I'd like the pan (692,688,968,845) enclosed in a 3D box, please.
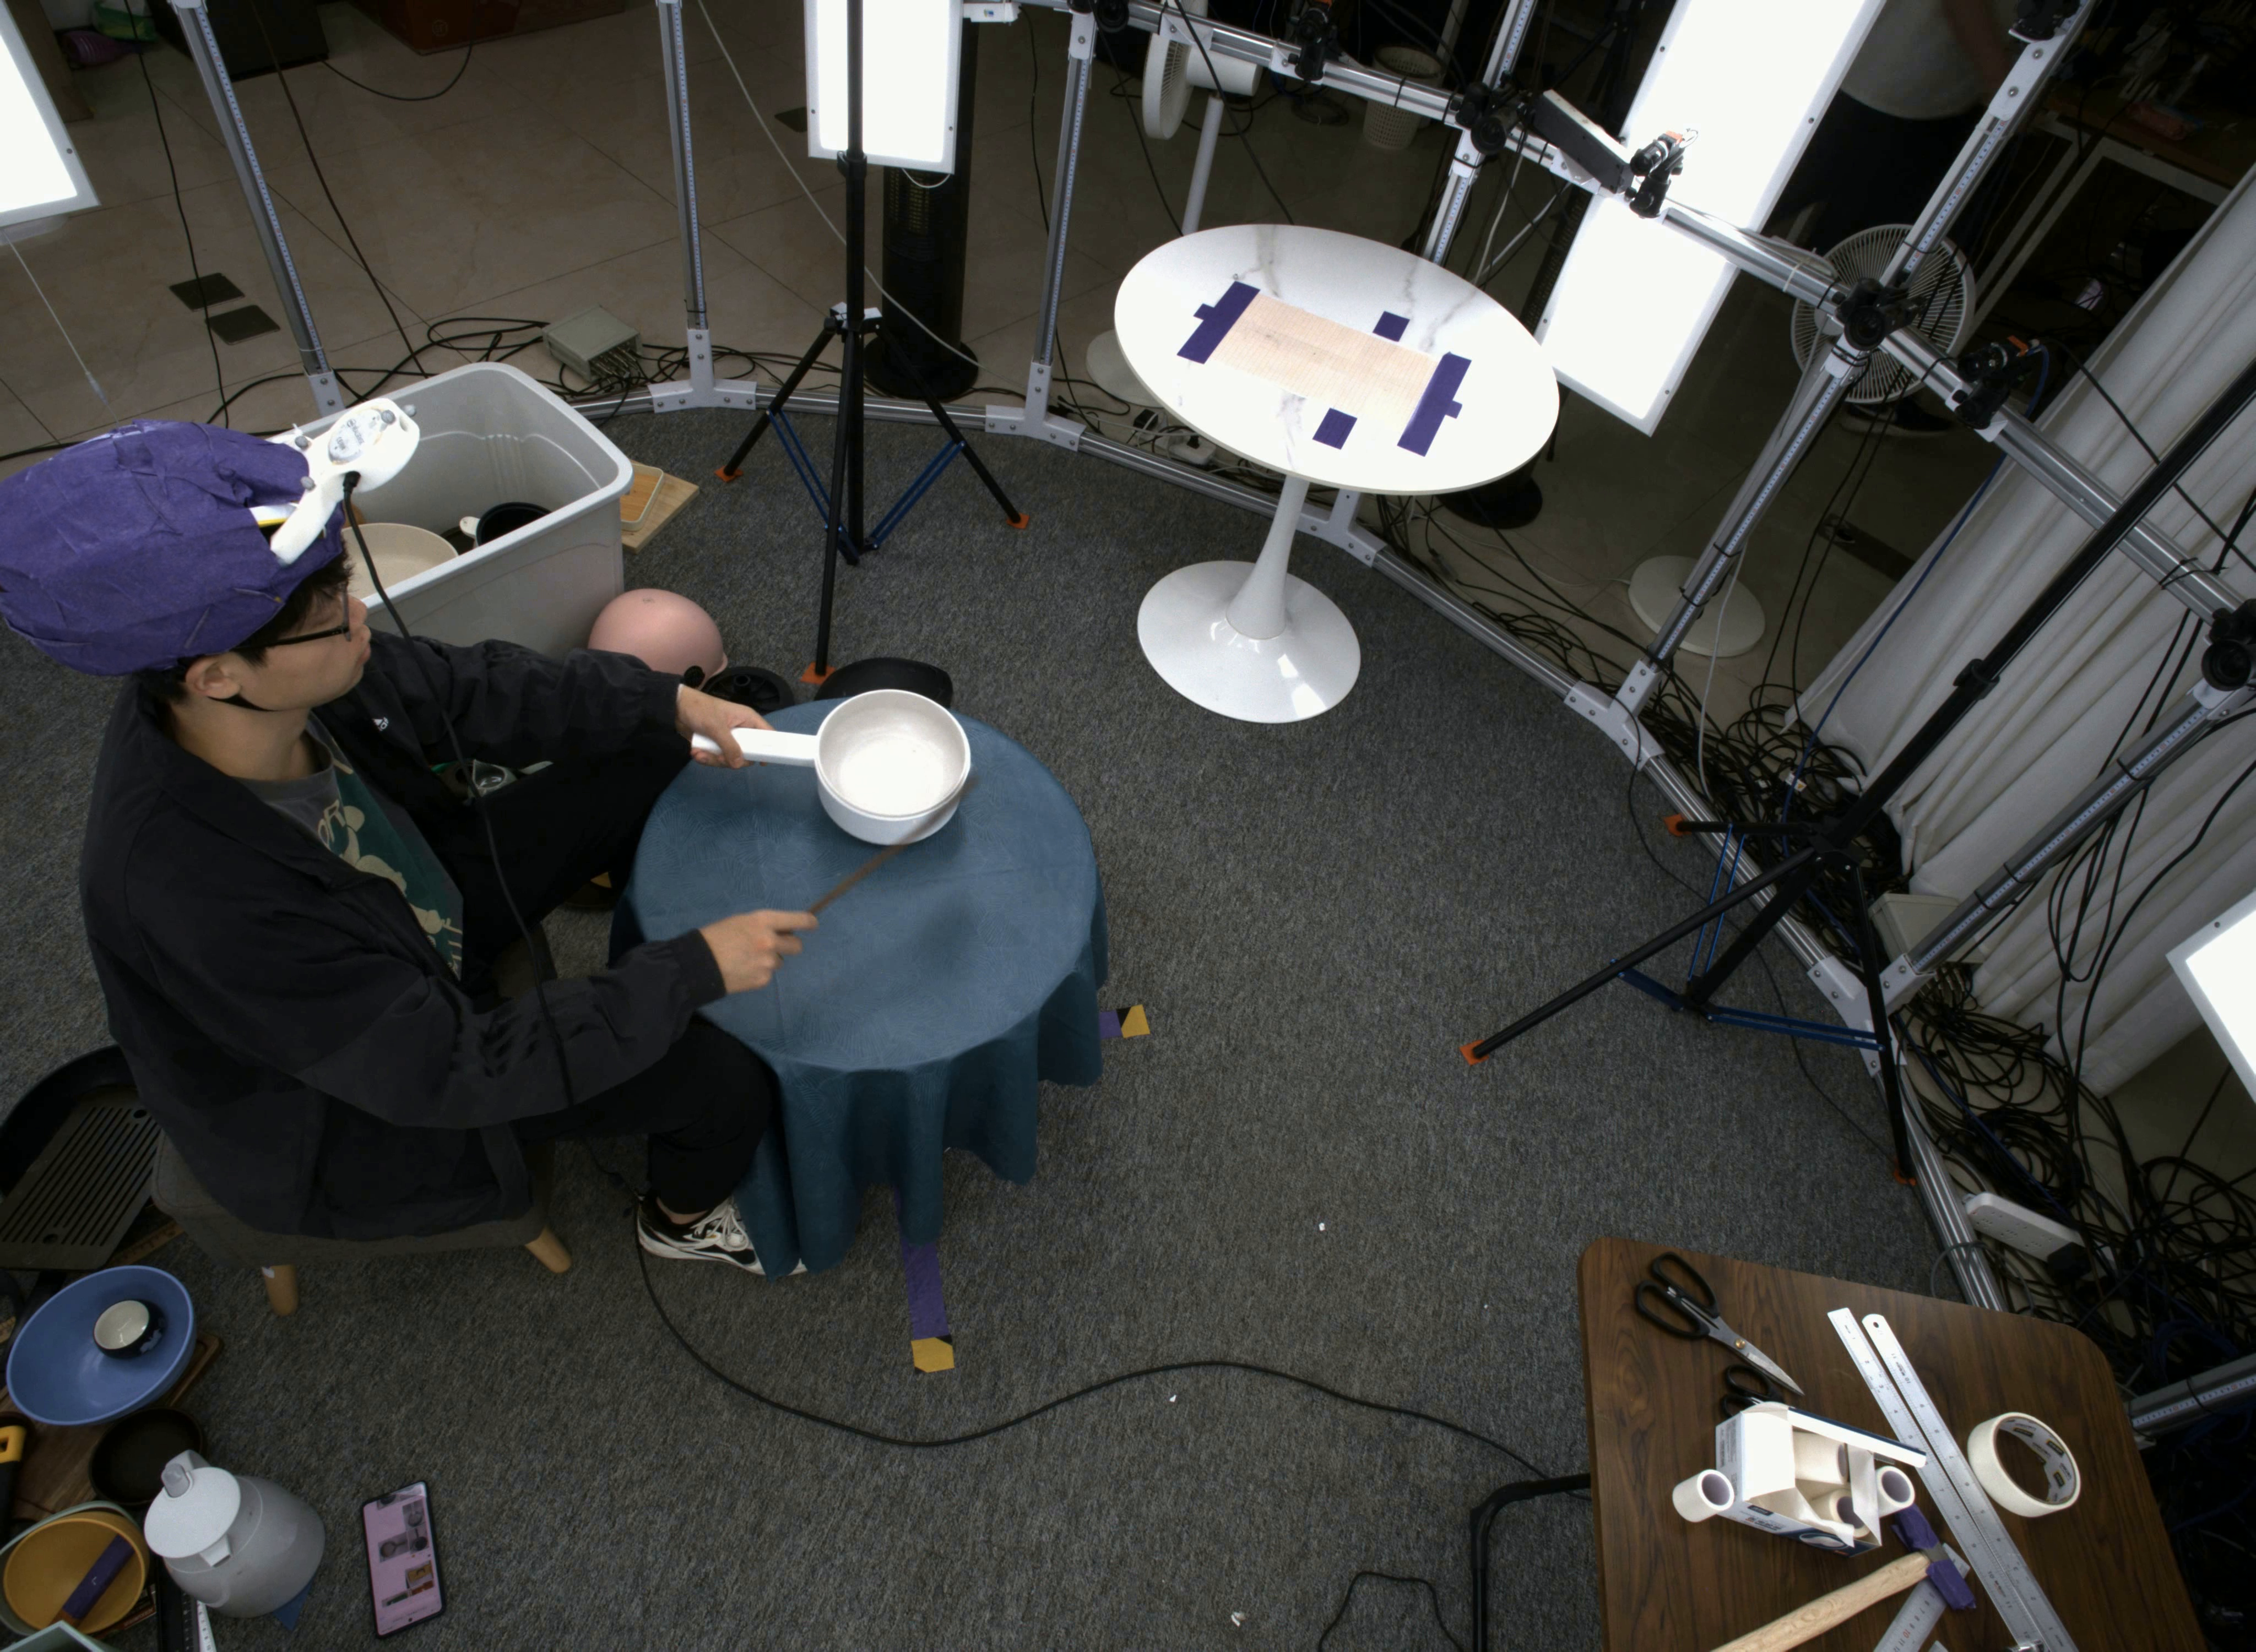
[{"bbox_3d":[-0.391,-0.081,1.718,0.355,0.103,0.198,5,59,-11],"label":"pan"}]

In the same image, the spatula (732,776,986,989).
[{"bbox_3d":[-0.312,0.062,1.532,0.386,0.095,0.016,-40,90,-23],"label":"spatula"}]
